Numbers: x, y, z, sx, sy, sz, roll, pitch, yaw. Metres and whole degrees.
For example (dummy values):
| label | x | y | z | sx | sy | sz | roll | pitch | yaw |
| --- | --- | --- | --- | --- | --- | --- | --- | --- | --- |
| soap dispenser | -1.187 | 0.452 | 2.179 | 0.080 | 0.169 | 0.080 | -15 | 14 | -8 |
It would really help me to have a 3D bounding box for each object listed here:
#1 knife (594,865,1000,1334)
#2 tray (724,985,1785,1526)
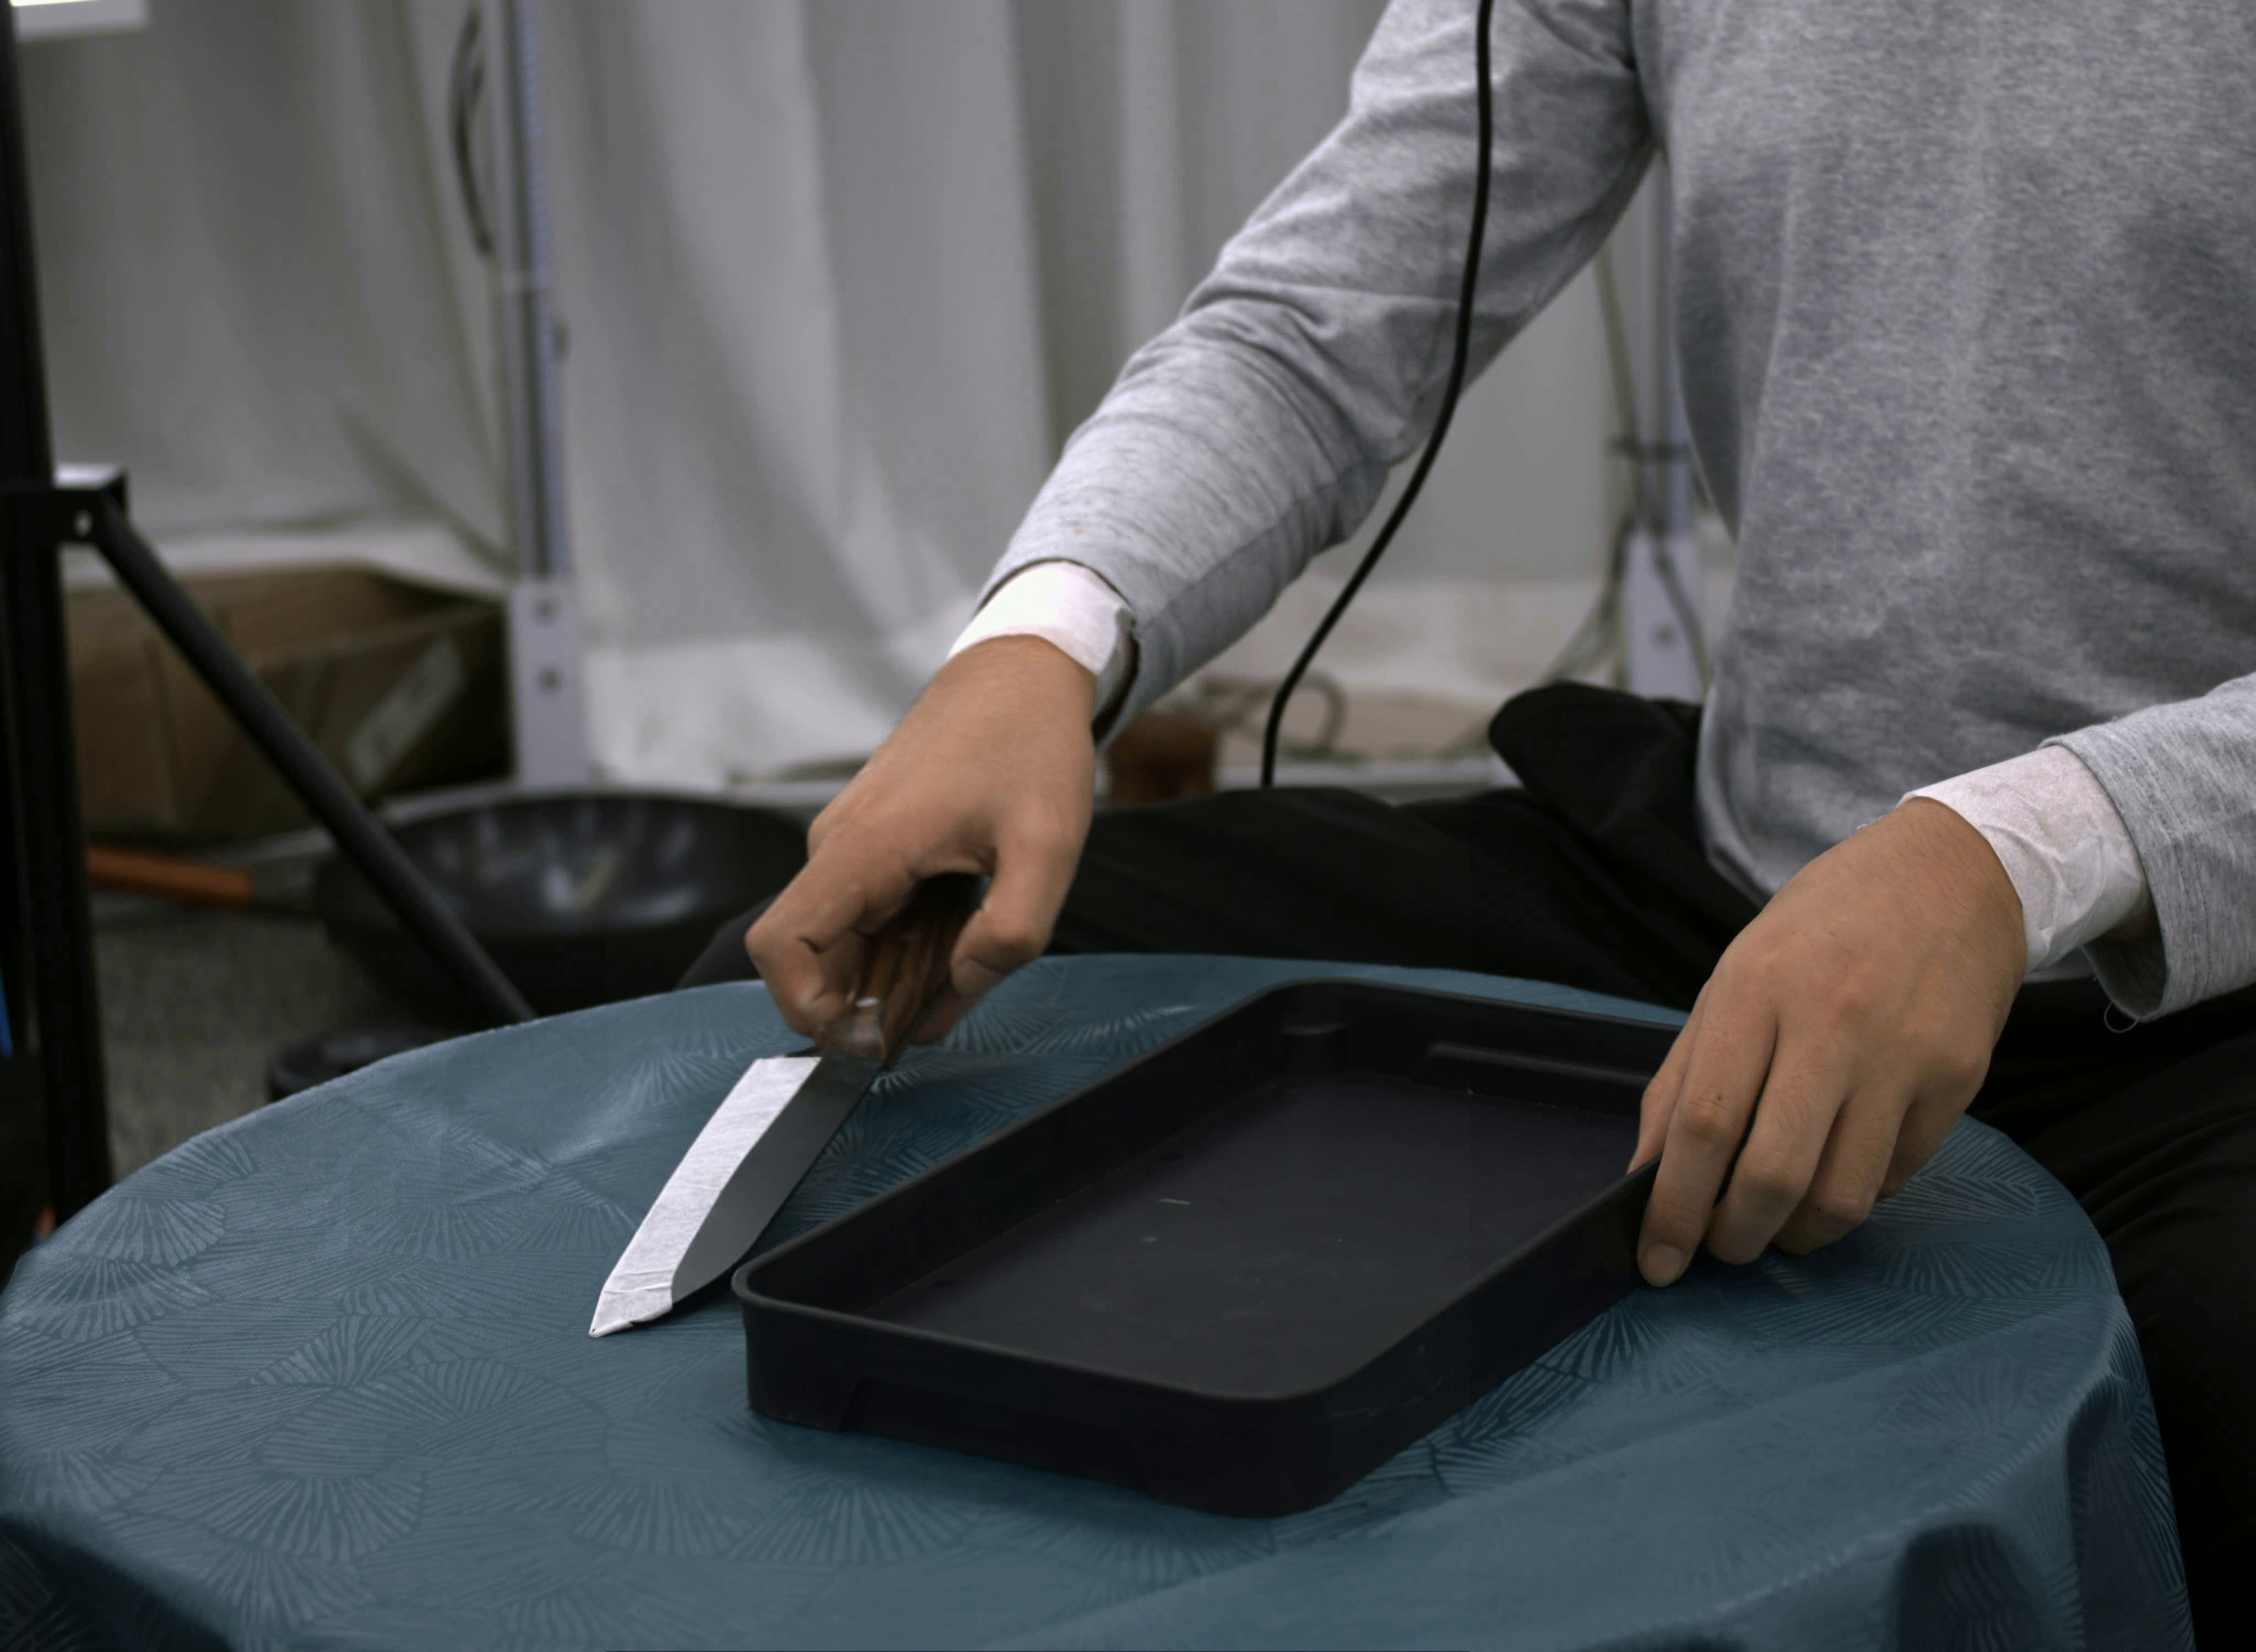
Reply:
| label | x | y | z | sx | sy | sz | roll | pitch | yaw |
| --- | --- | --- | --- | --- | --- | --- | --- | --- | --- |
| knife | -0.095 | 0.080 | 1.587 | 0.051 | 0.020 | 0.287 | -4 | 23 | 23 |
| tray | 0.043 | 0.112 | 1.477 | 0.187 | 0.037 | 0.312 | 7 | 18 | 30 |
